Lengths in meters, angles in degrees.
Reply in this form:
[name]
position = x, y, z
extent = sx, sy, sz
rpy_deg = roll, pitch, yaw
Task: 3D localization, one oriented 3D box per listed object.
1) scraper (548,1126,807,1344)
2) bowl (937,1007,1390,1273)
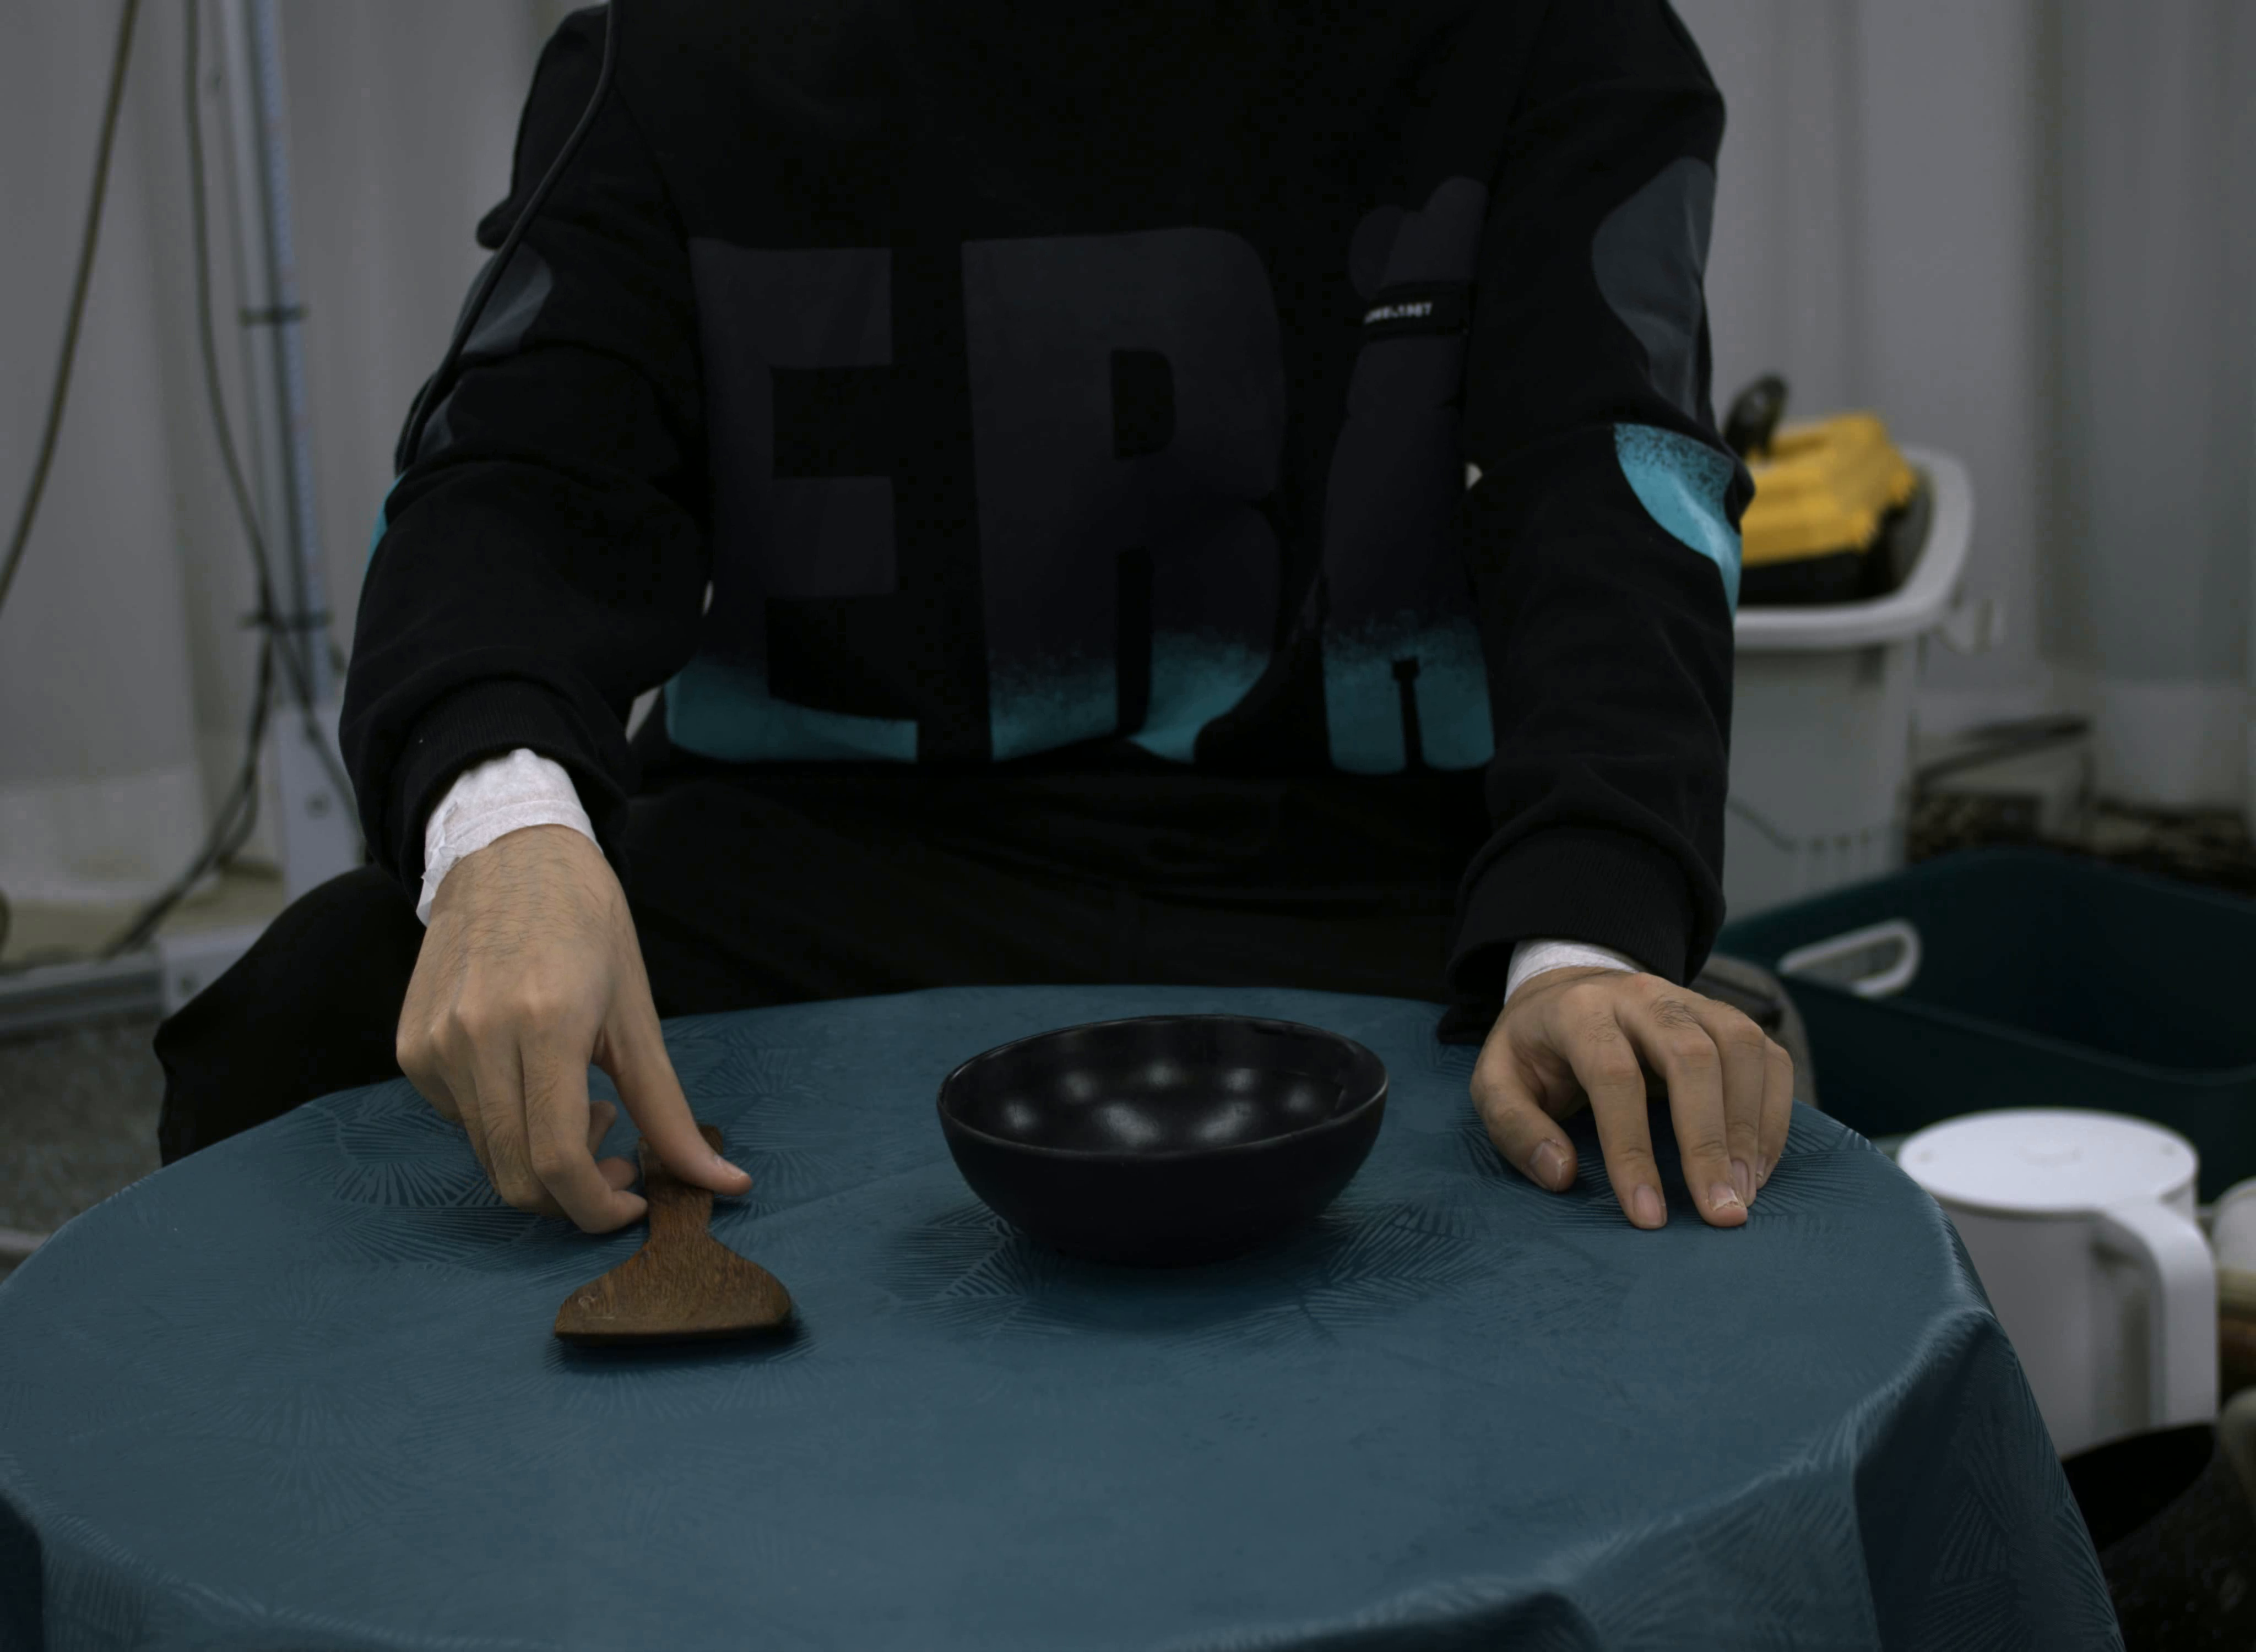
[scraper]
position = -0.138, 0.126, 1.685
extent = 0.075, 0.011, 0.213
rpy_deg = -2, 14, -4
[bowl]
position = 0.013, 0.101, 1.669
extent = 0.139, 0.049, 0.141
rpy_deg = -5, 16, 1
